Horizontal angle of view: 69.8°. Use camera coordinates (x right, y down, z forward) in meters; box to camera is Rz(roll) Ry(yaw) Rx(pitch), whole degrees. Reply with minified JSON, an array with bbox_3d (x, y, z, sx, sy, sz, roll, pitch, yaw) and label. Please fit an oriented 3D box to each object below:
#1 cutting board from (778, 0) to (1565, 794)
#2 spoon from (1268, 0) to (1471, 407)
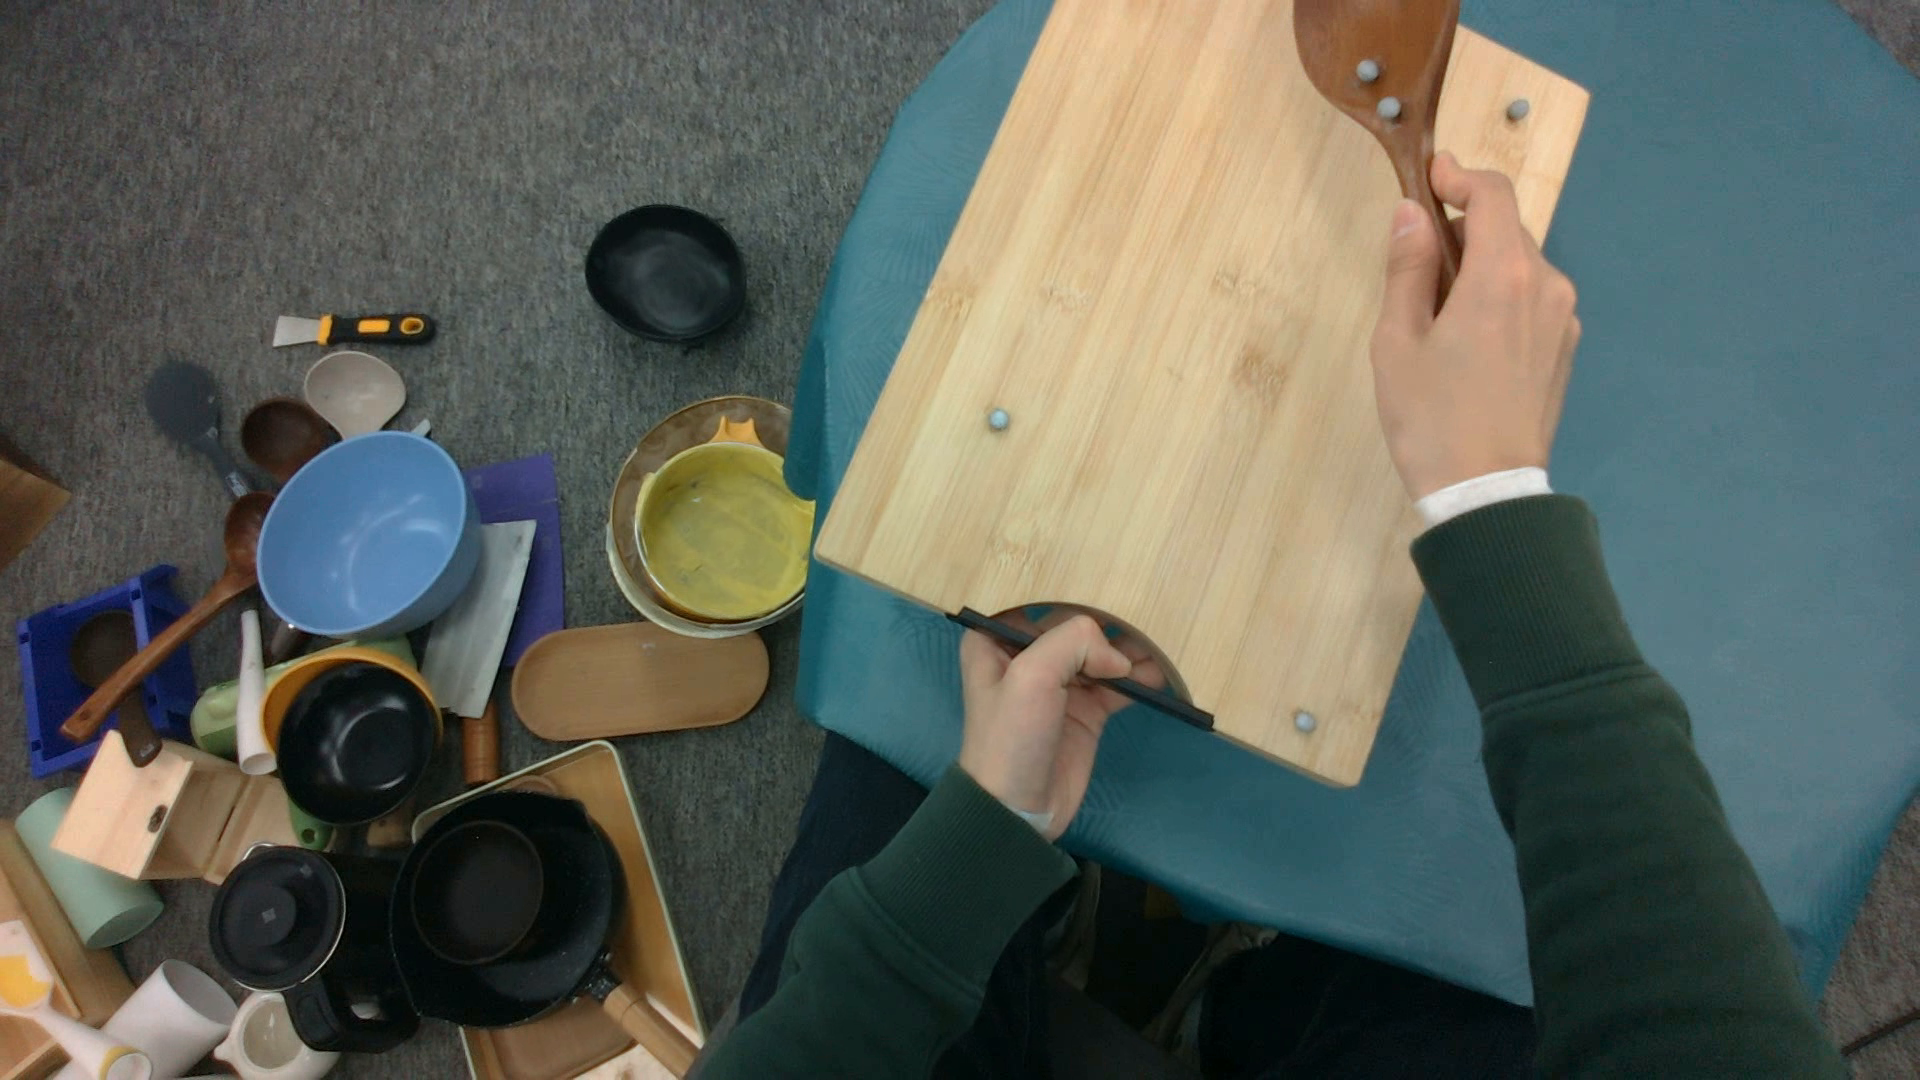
[{"bbox_3d":[0.104,-0.098,0.592,0.251,0.023,0.349,23,77,-5],"label":"cutting board"},{"bbox_3d":[0.166,-0.154,0.534,0.075,0.017,0.216,-22,68,44],"label":"spoon"}]
